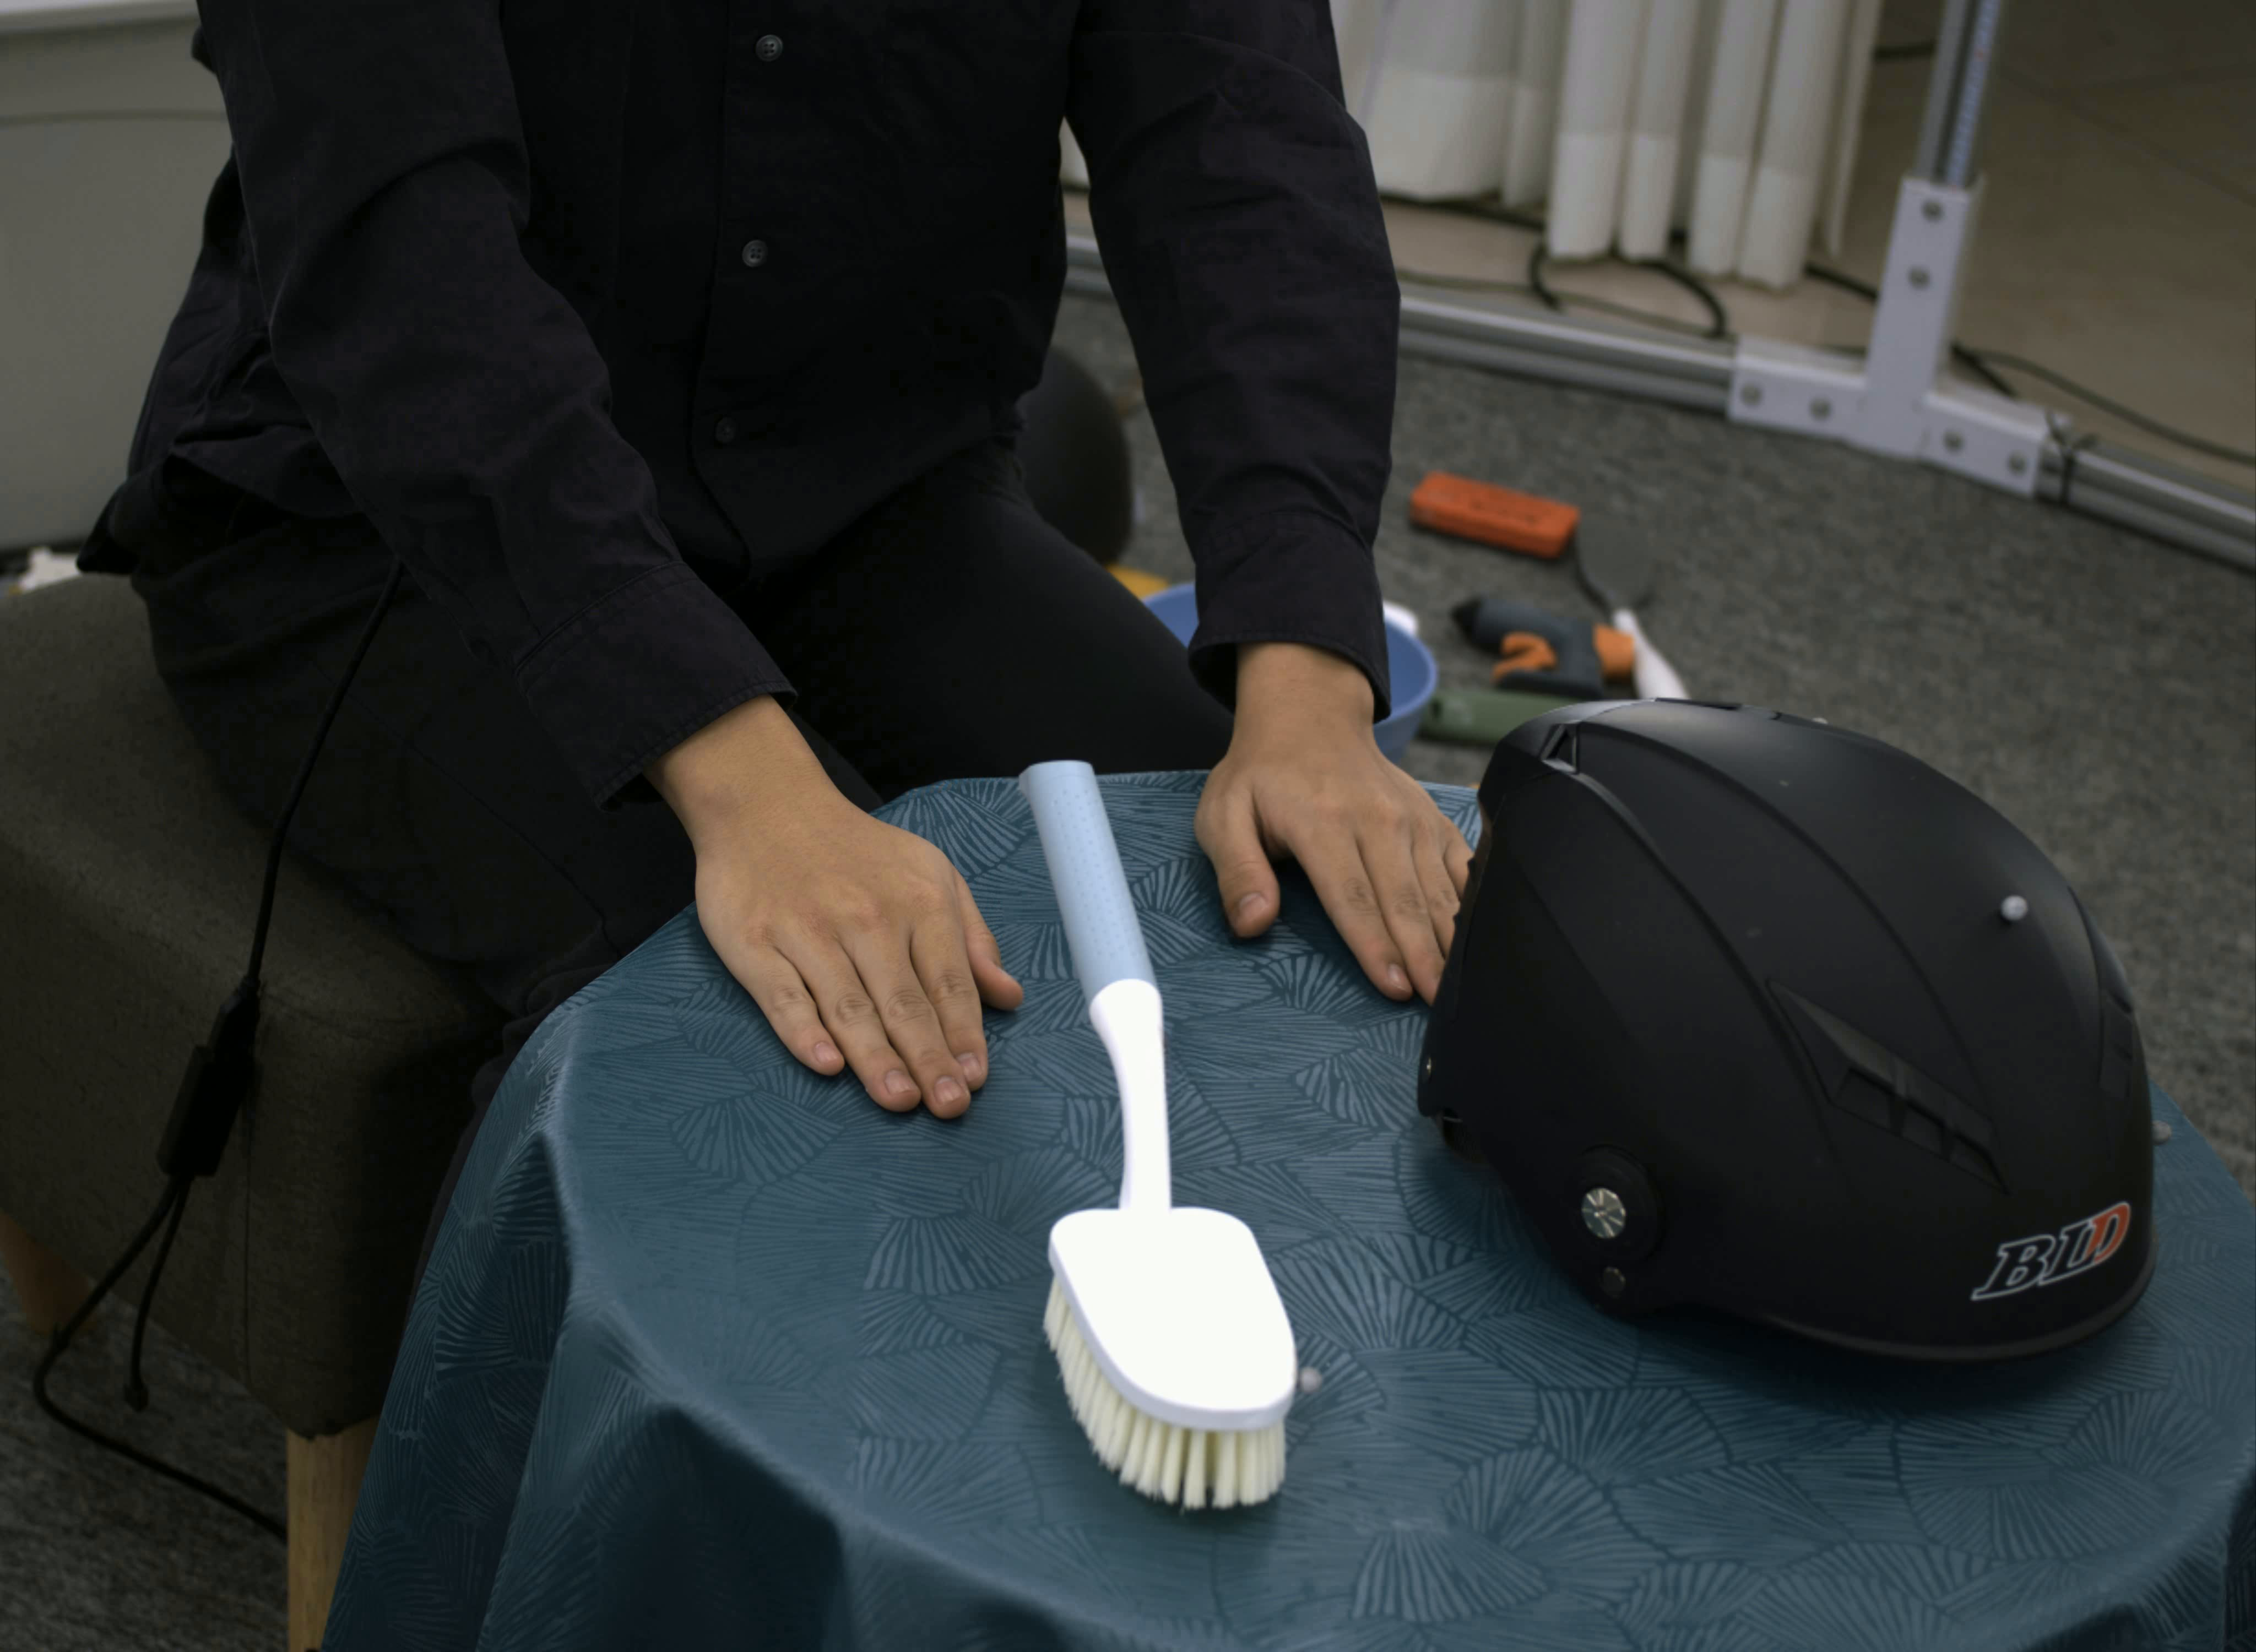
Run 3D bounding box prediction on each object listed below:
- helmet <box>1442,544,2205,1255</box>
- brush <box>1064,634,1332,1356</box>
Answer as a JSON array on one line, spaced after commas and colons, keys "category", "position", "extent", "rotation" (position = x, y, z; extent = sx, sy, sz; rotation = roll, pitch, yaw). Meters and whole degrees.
[{"category": "helmet", "position": [0.244, 0.015, 1.830], "extent": [0.245, 0.172, 0.279], "rotation": [-14, 37, -34]}, {"category": "brush", "position": [0.016, 0.064, 1.776], "extent": [0.082, 0.084, 0.328], "rotation": [34, 25, -34]}]
